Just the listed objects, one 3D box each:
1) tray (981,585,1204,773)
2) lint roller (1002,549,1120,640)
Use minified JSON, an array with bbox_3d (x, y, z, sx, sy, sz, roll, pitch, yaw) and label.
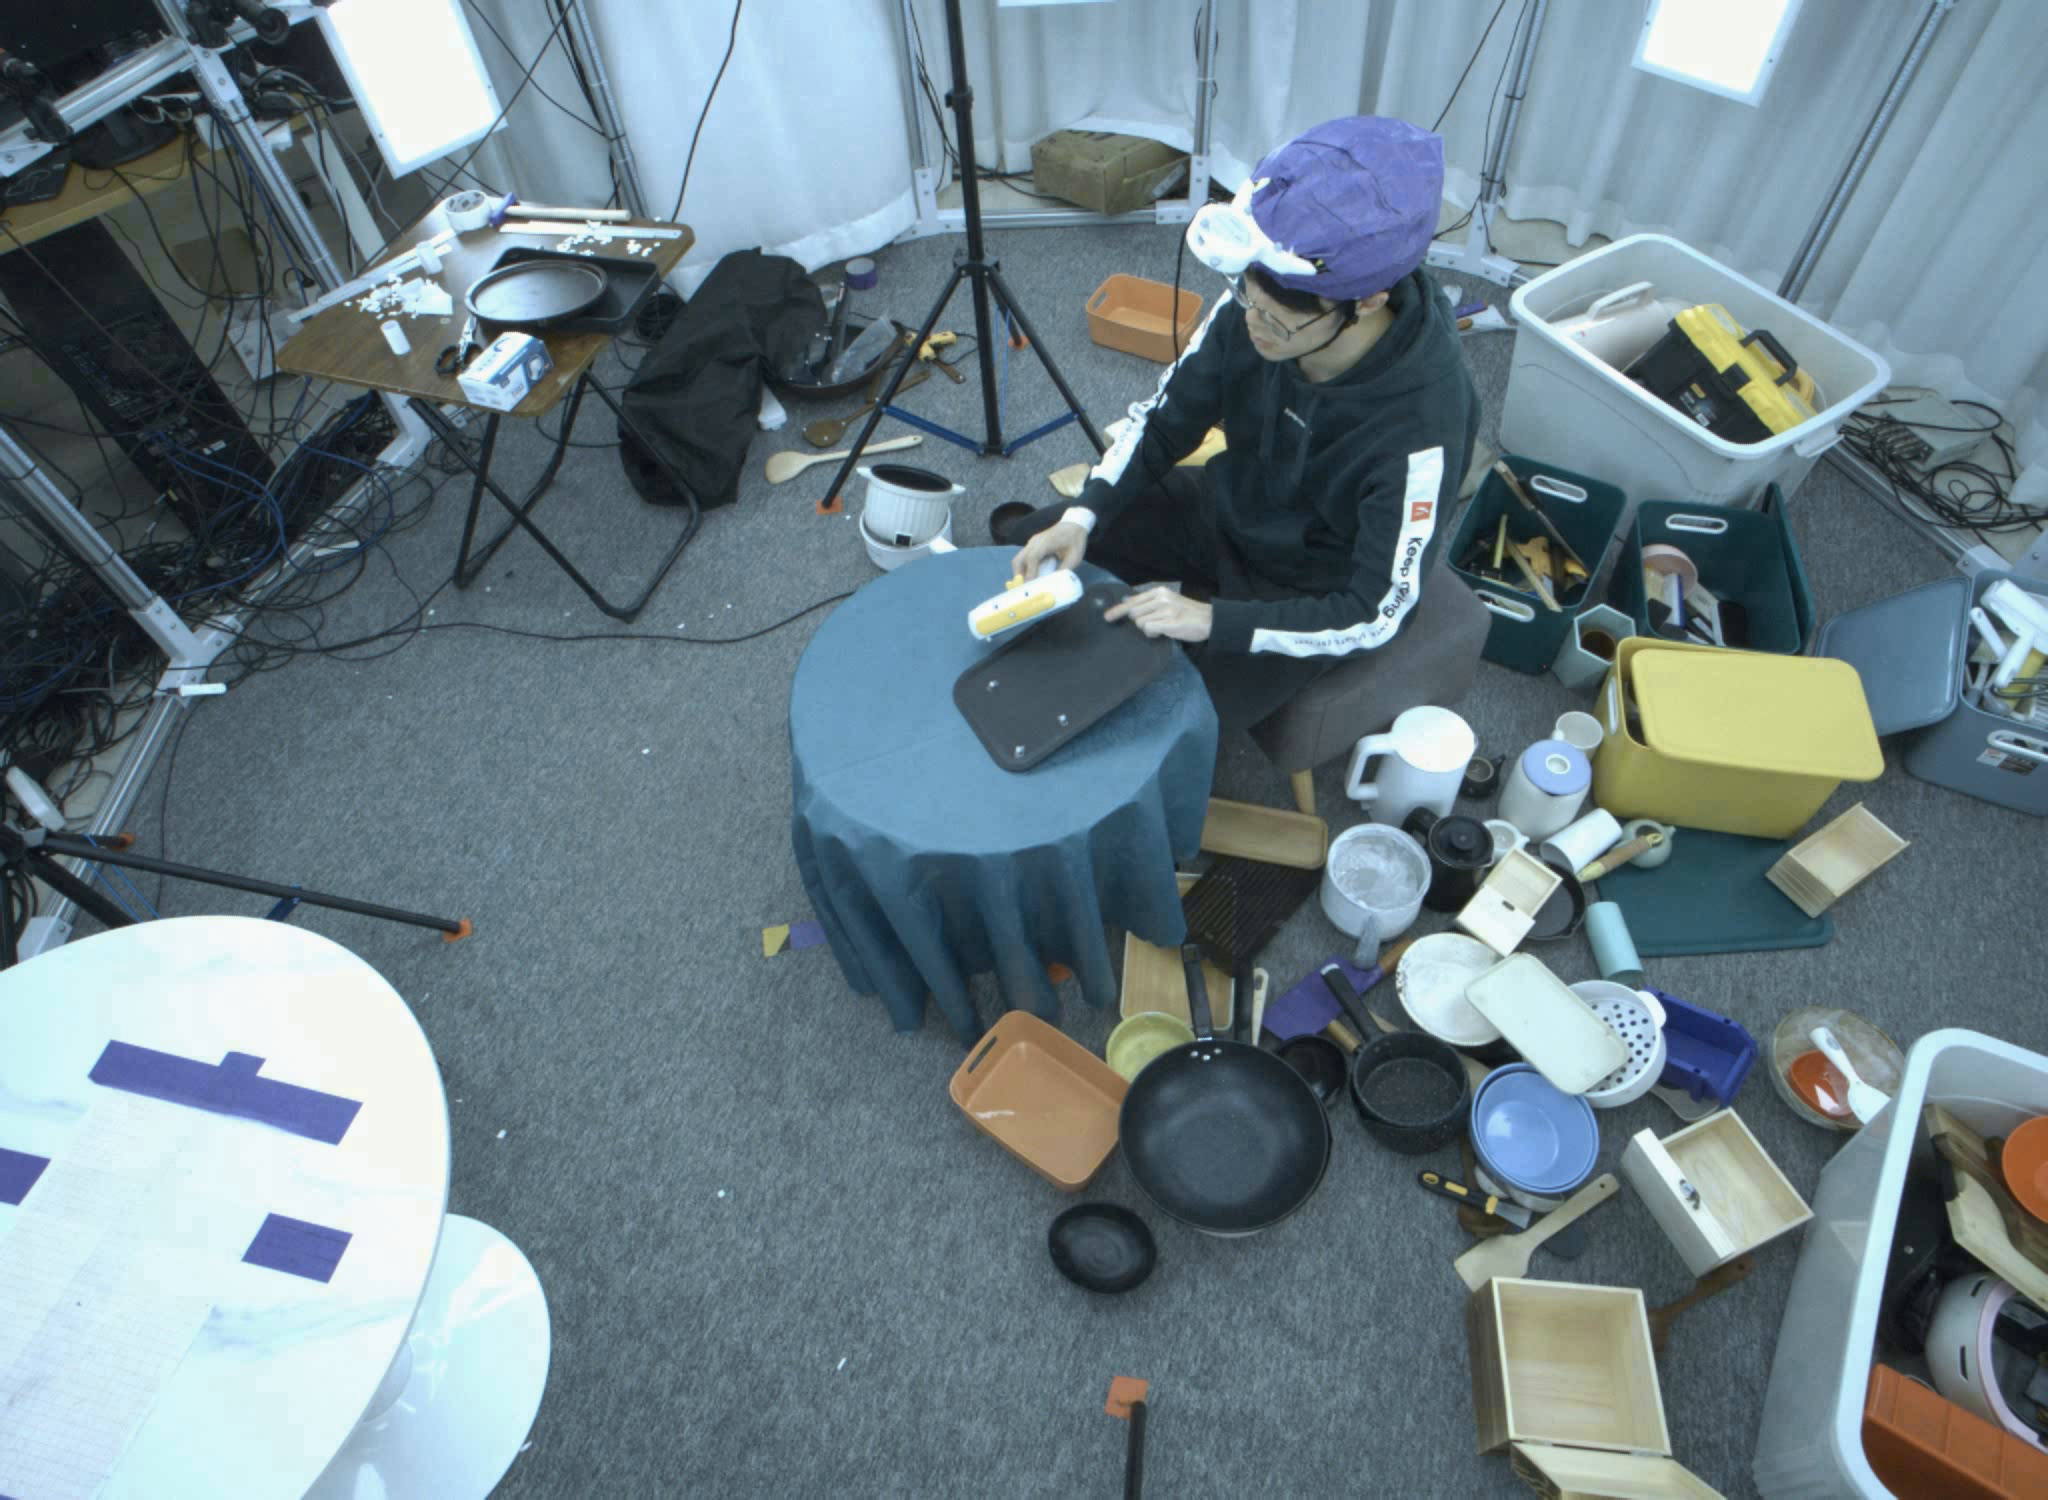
[{"bbox_3d":[0.103,-0.114,1.801,0.325,0.010,0.207,-33,58,-1],"label":"tray"},{"bbox_3d":[0.069,-0.246,1.859,0.190,0.075,0.193,-23,17,32],"label":"lint roller"}]
